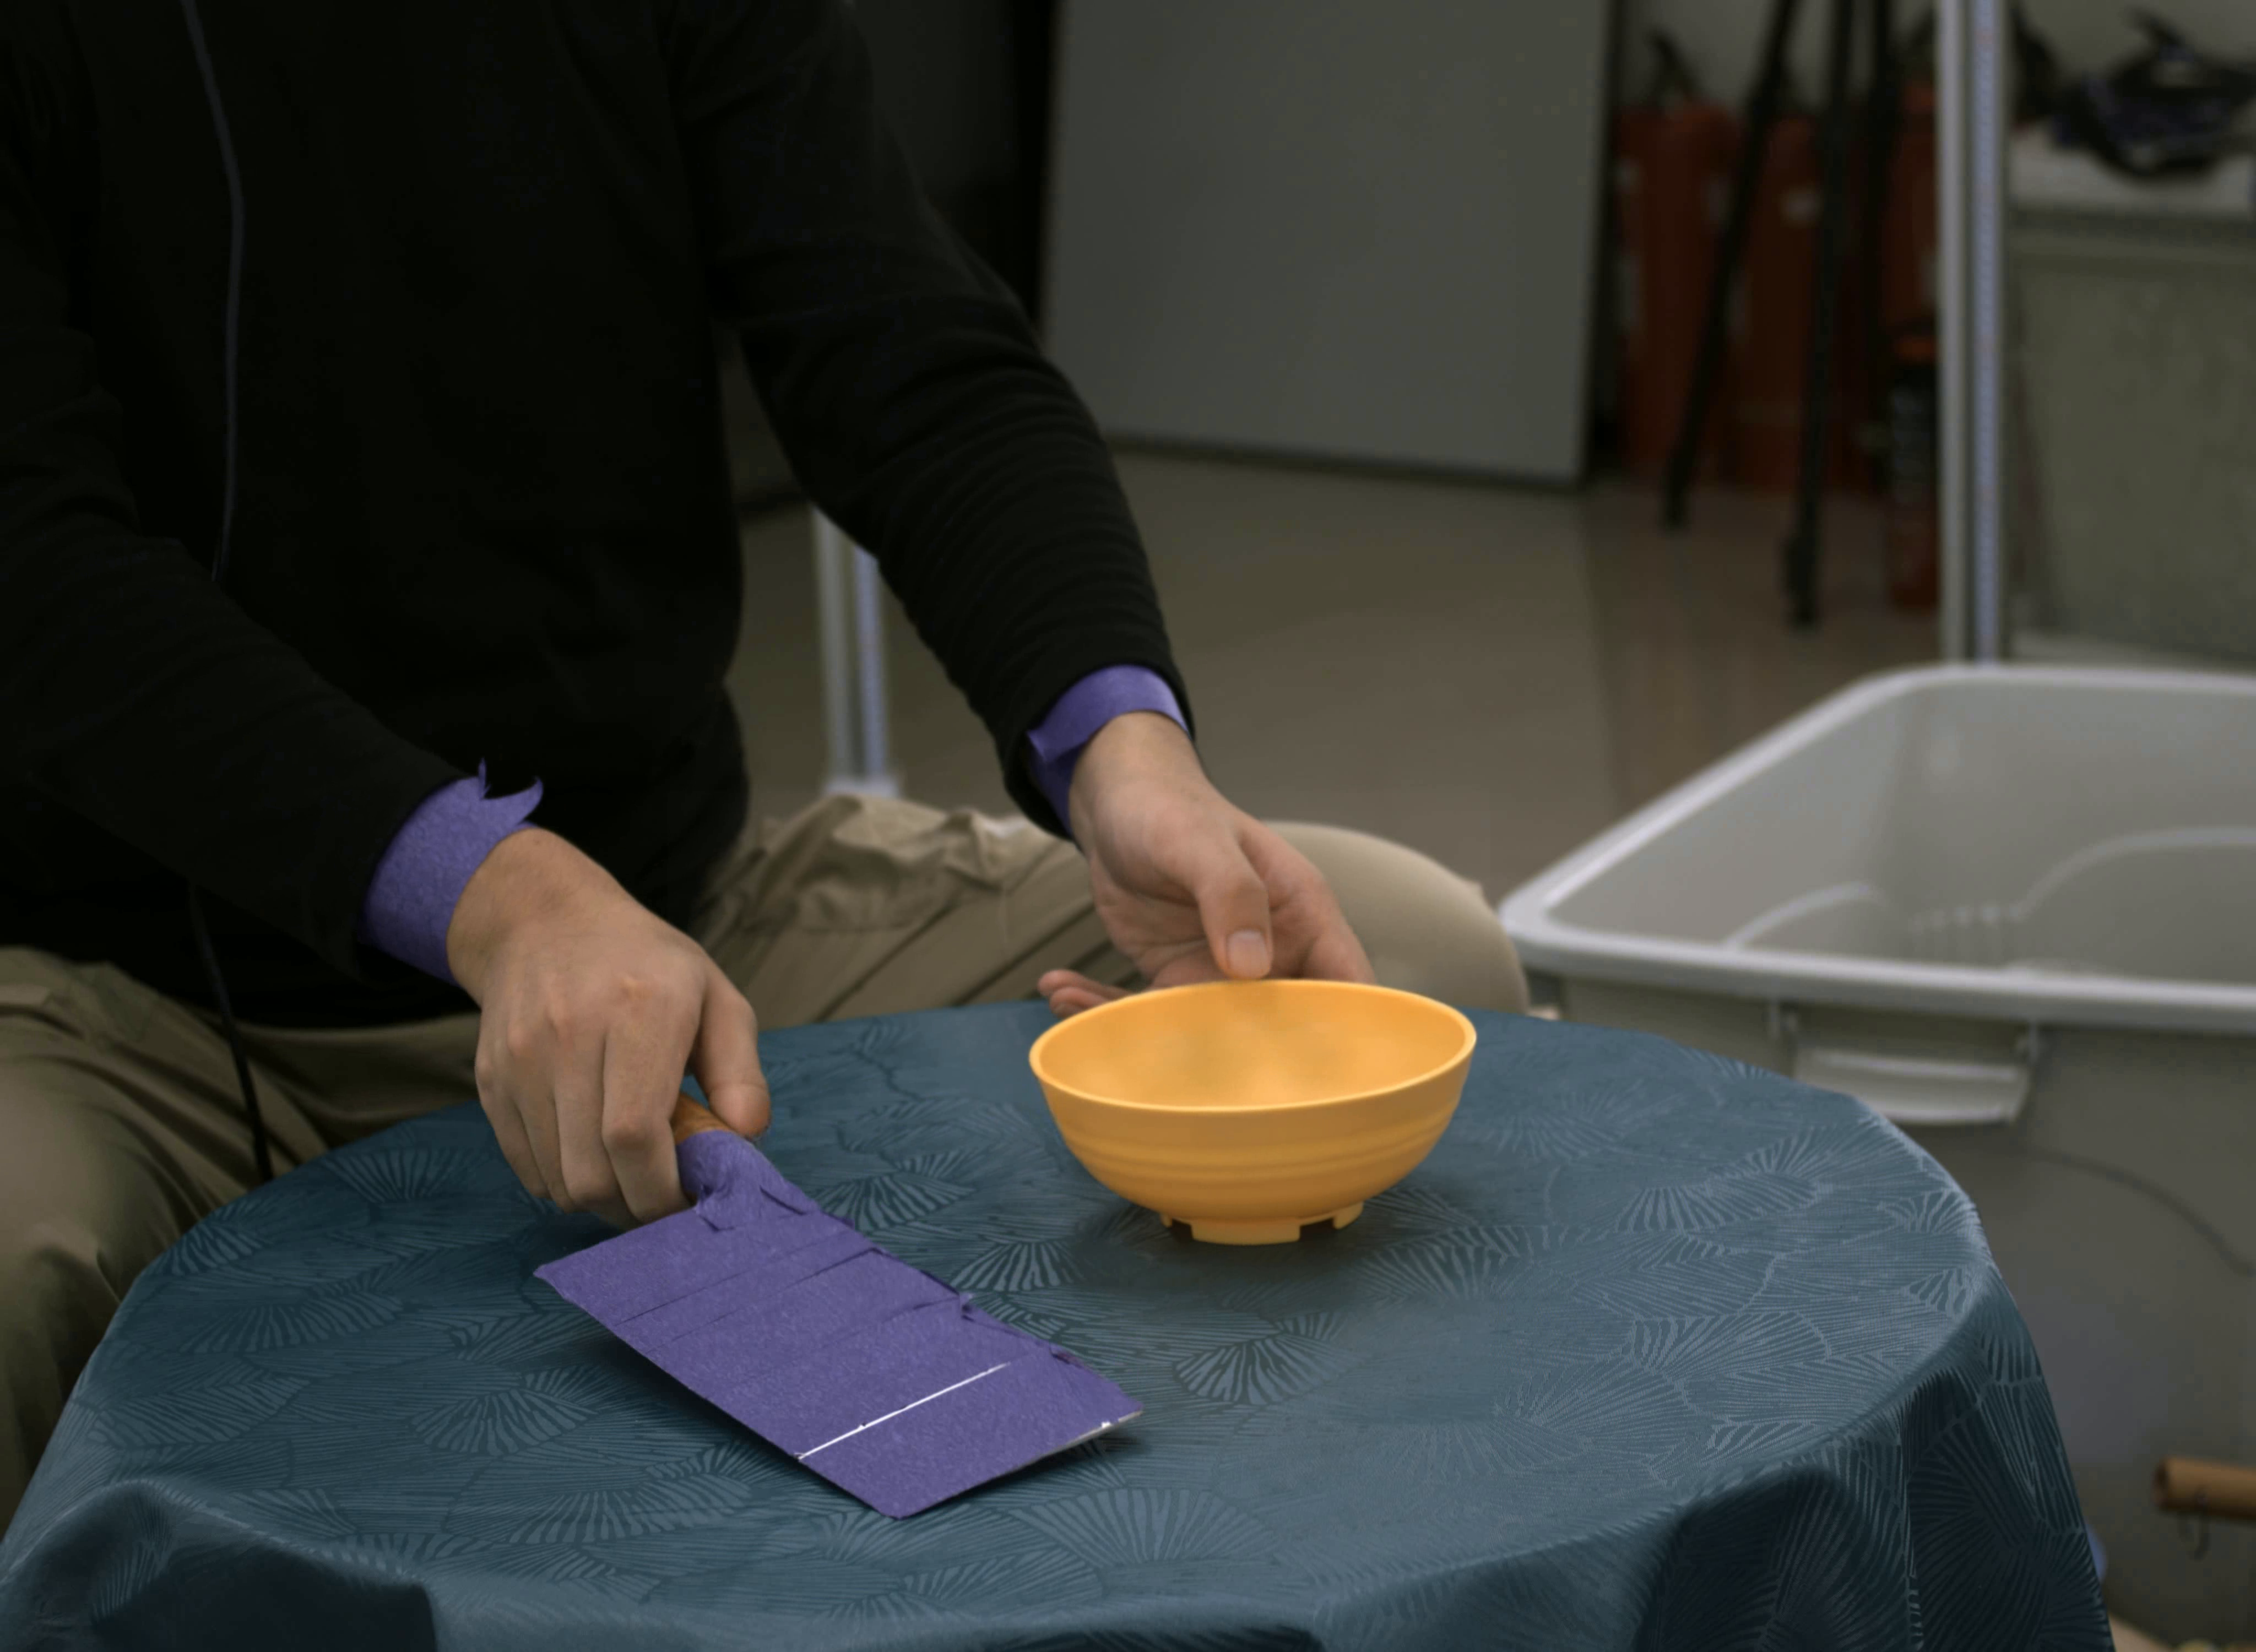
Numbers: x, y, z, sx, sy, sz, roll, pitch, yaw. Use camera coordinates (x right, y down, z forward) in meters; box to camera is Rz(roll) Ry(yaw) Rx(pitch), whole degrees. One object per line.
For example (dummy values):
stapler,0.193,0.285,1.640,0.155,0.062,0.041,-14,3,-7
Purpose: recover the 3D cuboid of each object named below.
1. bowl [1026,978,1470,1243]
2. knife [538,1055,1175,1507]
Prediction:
bowl,0.039,0.096,1.736,0.143,0.061,0.145,-2,14,0
knife,-0.115,0.134,1.642,0.102,0.032,0.319,-20,24,-30
